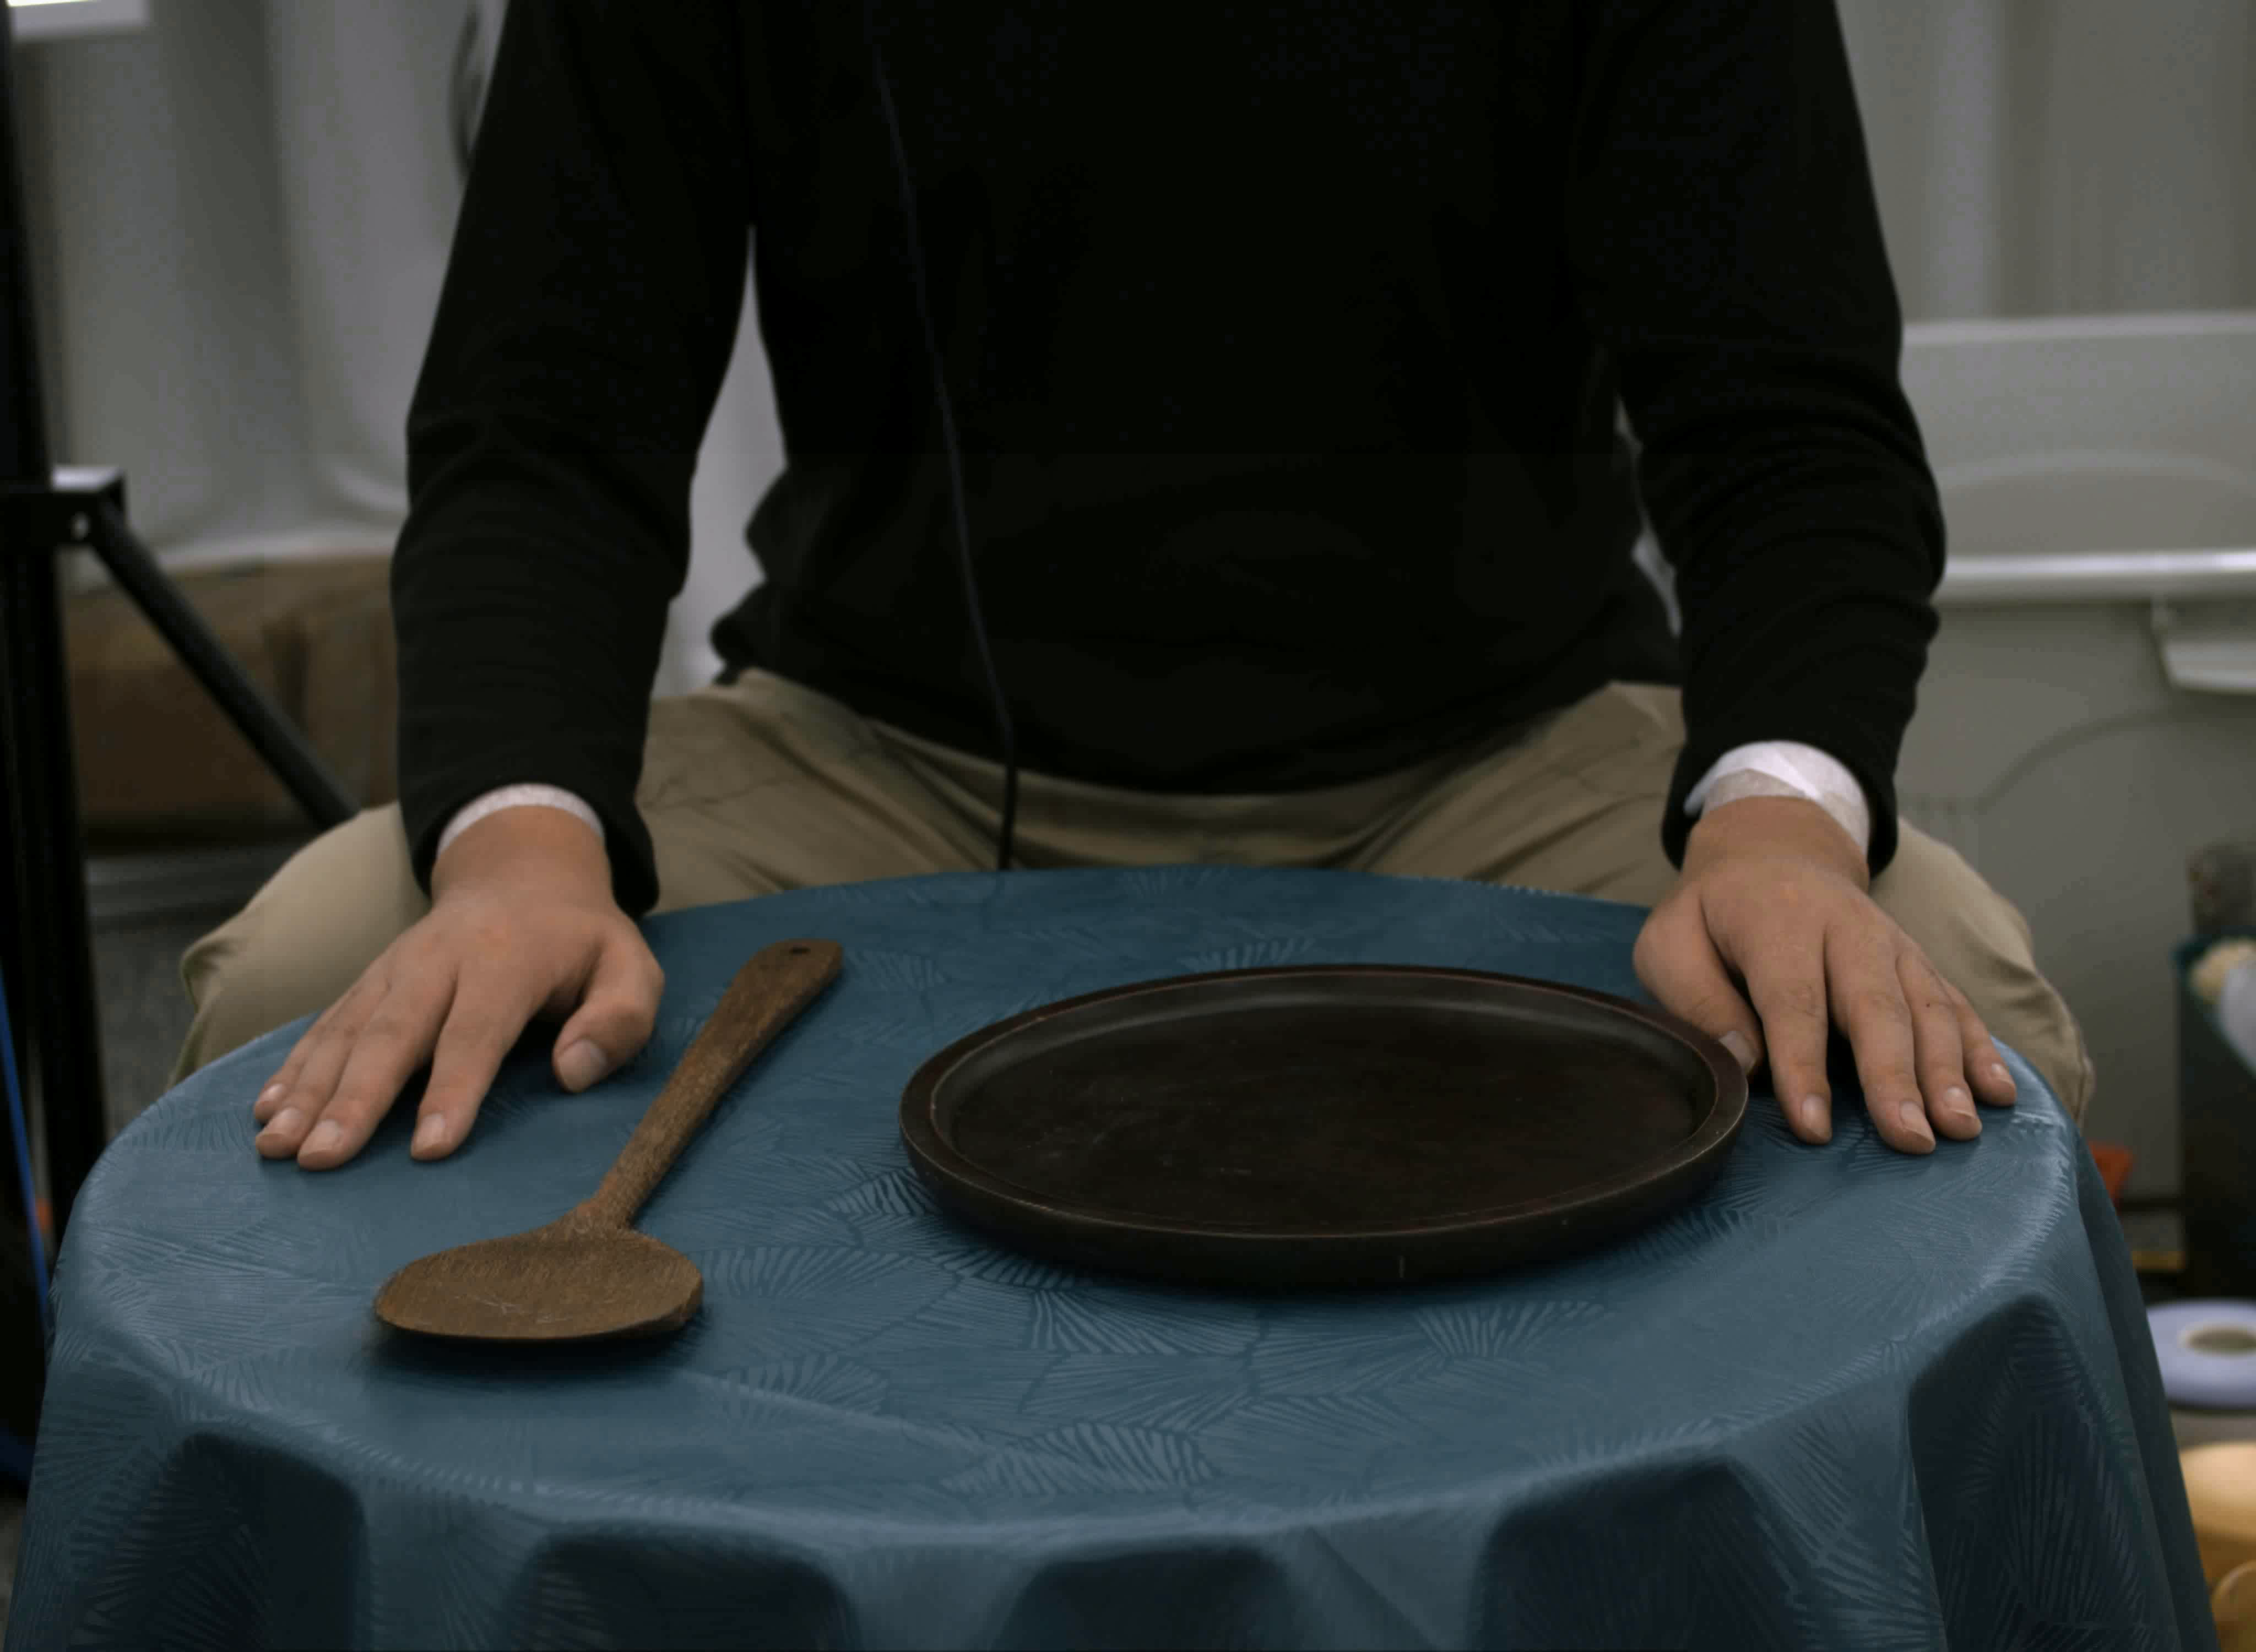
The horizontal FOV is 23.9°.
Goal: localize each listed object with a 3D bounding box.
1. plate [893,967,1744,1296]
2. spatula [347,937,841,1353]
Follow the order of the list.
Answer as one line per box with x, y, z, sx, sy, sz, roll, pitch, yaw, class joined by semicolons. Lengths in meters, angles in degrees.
0.057;0.088;1.575;0.253;0.029;0.256;-4;15;0;plate
-0.139;0.090;1.617;0.096;0.016;0.384;1;16;10;spatula
